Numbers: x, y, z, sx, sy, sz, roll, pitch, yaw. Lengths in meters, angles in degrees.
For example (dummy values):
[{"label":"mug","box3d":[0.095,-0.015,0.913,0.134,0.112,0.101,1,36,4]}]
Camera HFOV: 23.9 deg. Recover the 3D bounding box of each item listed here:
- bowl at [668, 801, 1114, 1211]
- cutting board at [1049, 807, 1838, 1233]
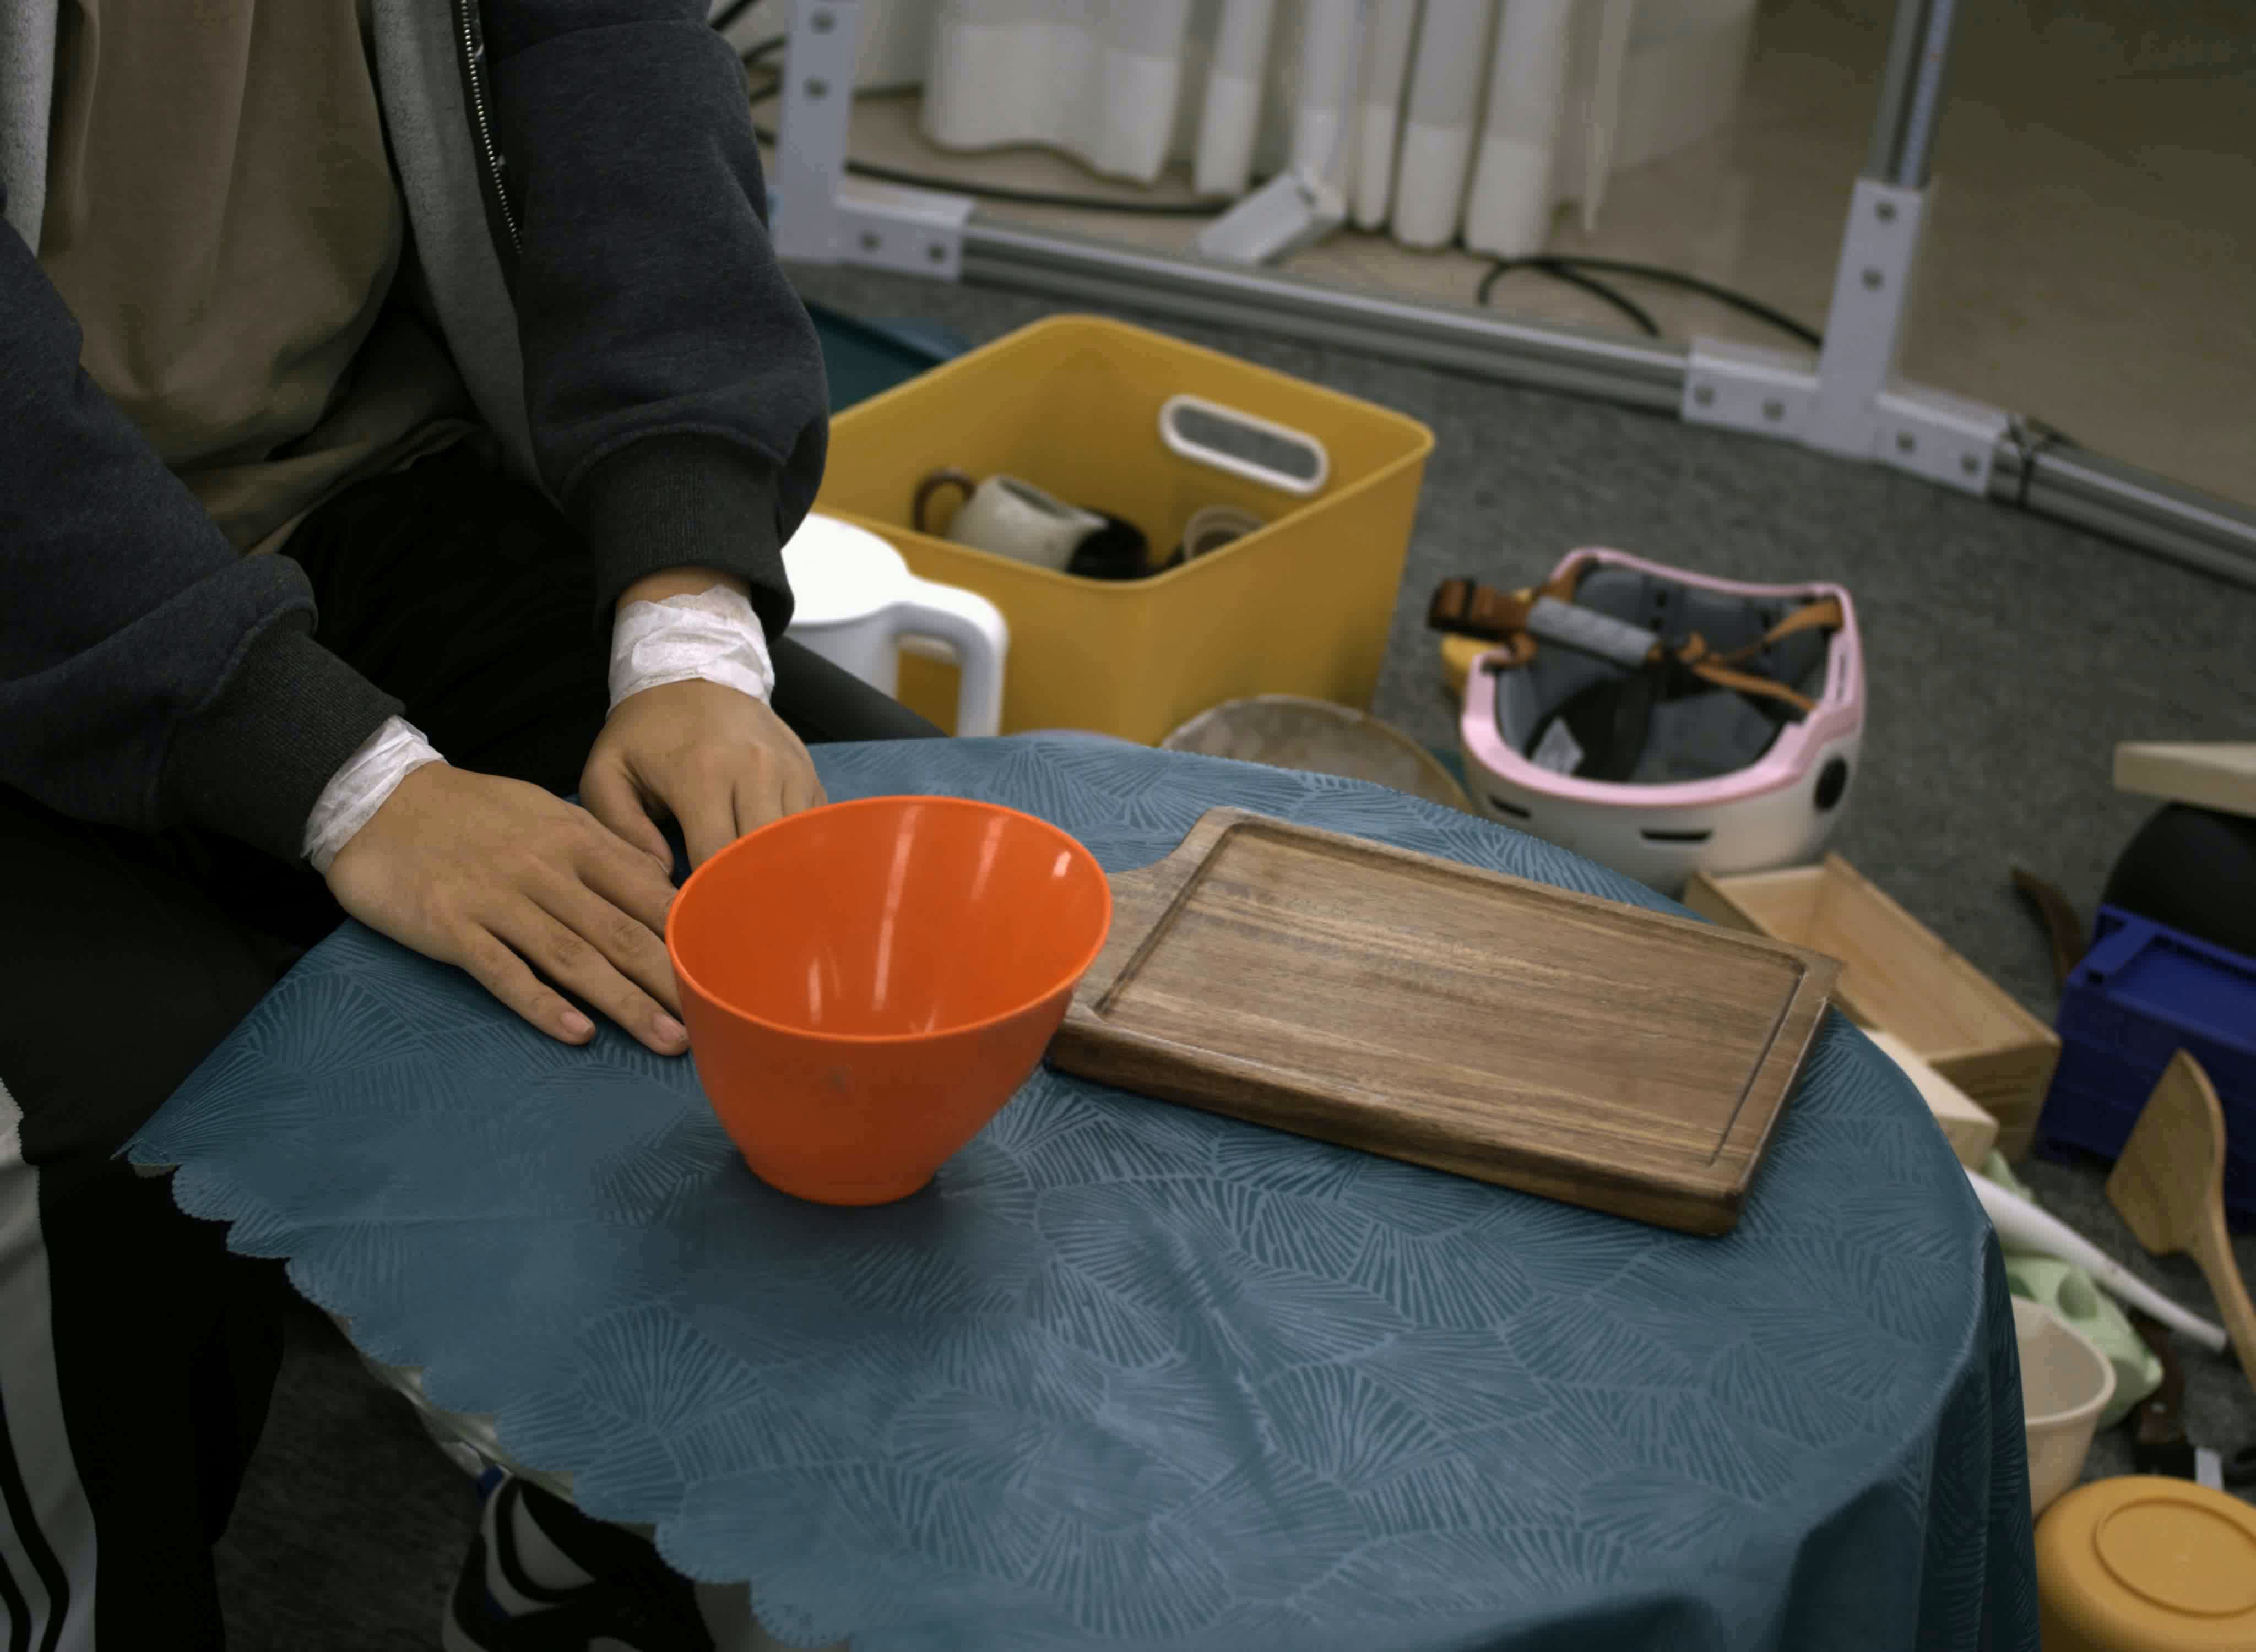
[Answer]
[{"label":"bowl","box3d":[-0.083,0.066,1.784,0.147,0.104,0.149,6,27,-3]},{"label":"cutting board","box3d":[0.071,0.055,1.930,0.352,0.023,0.201,13,27,14]}]
